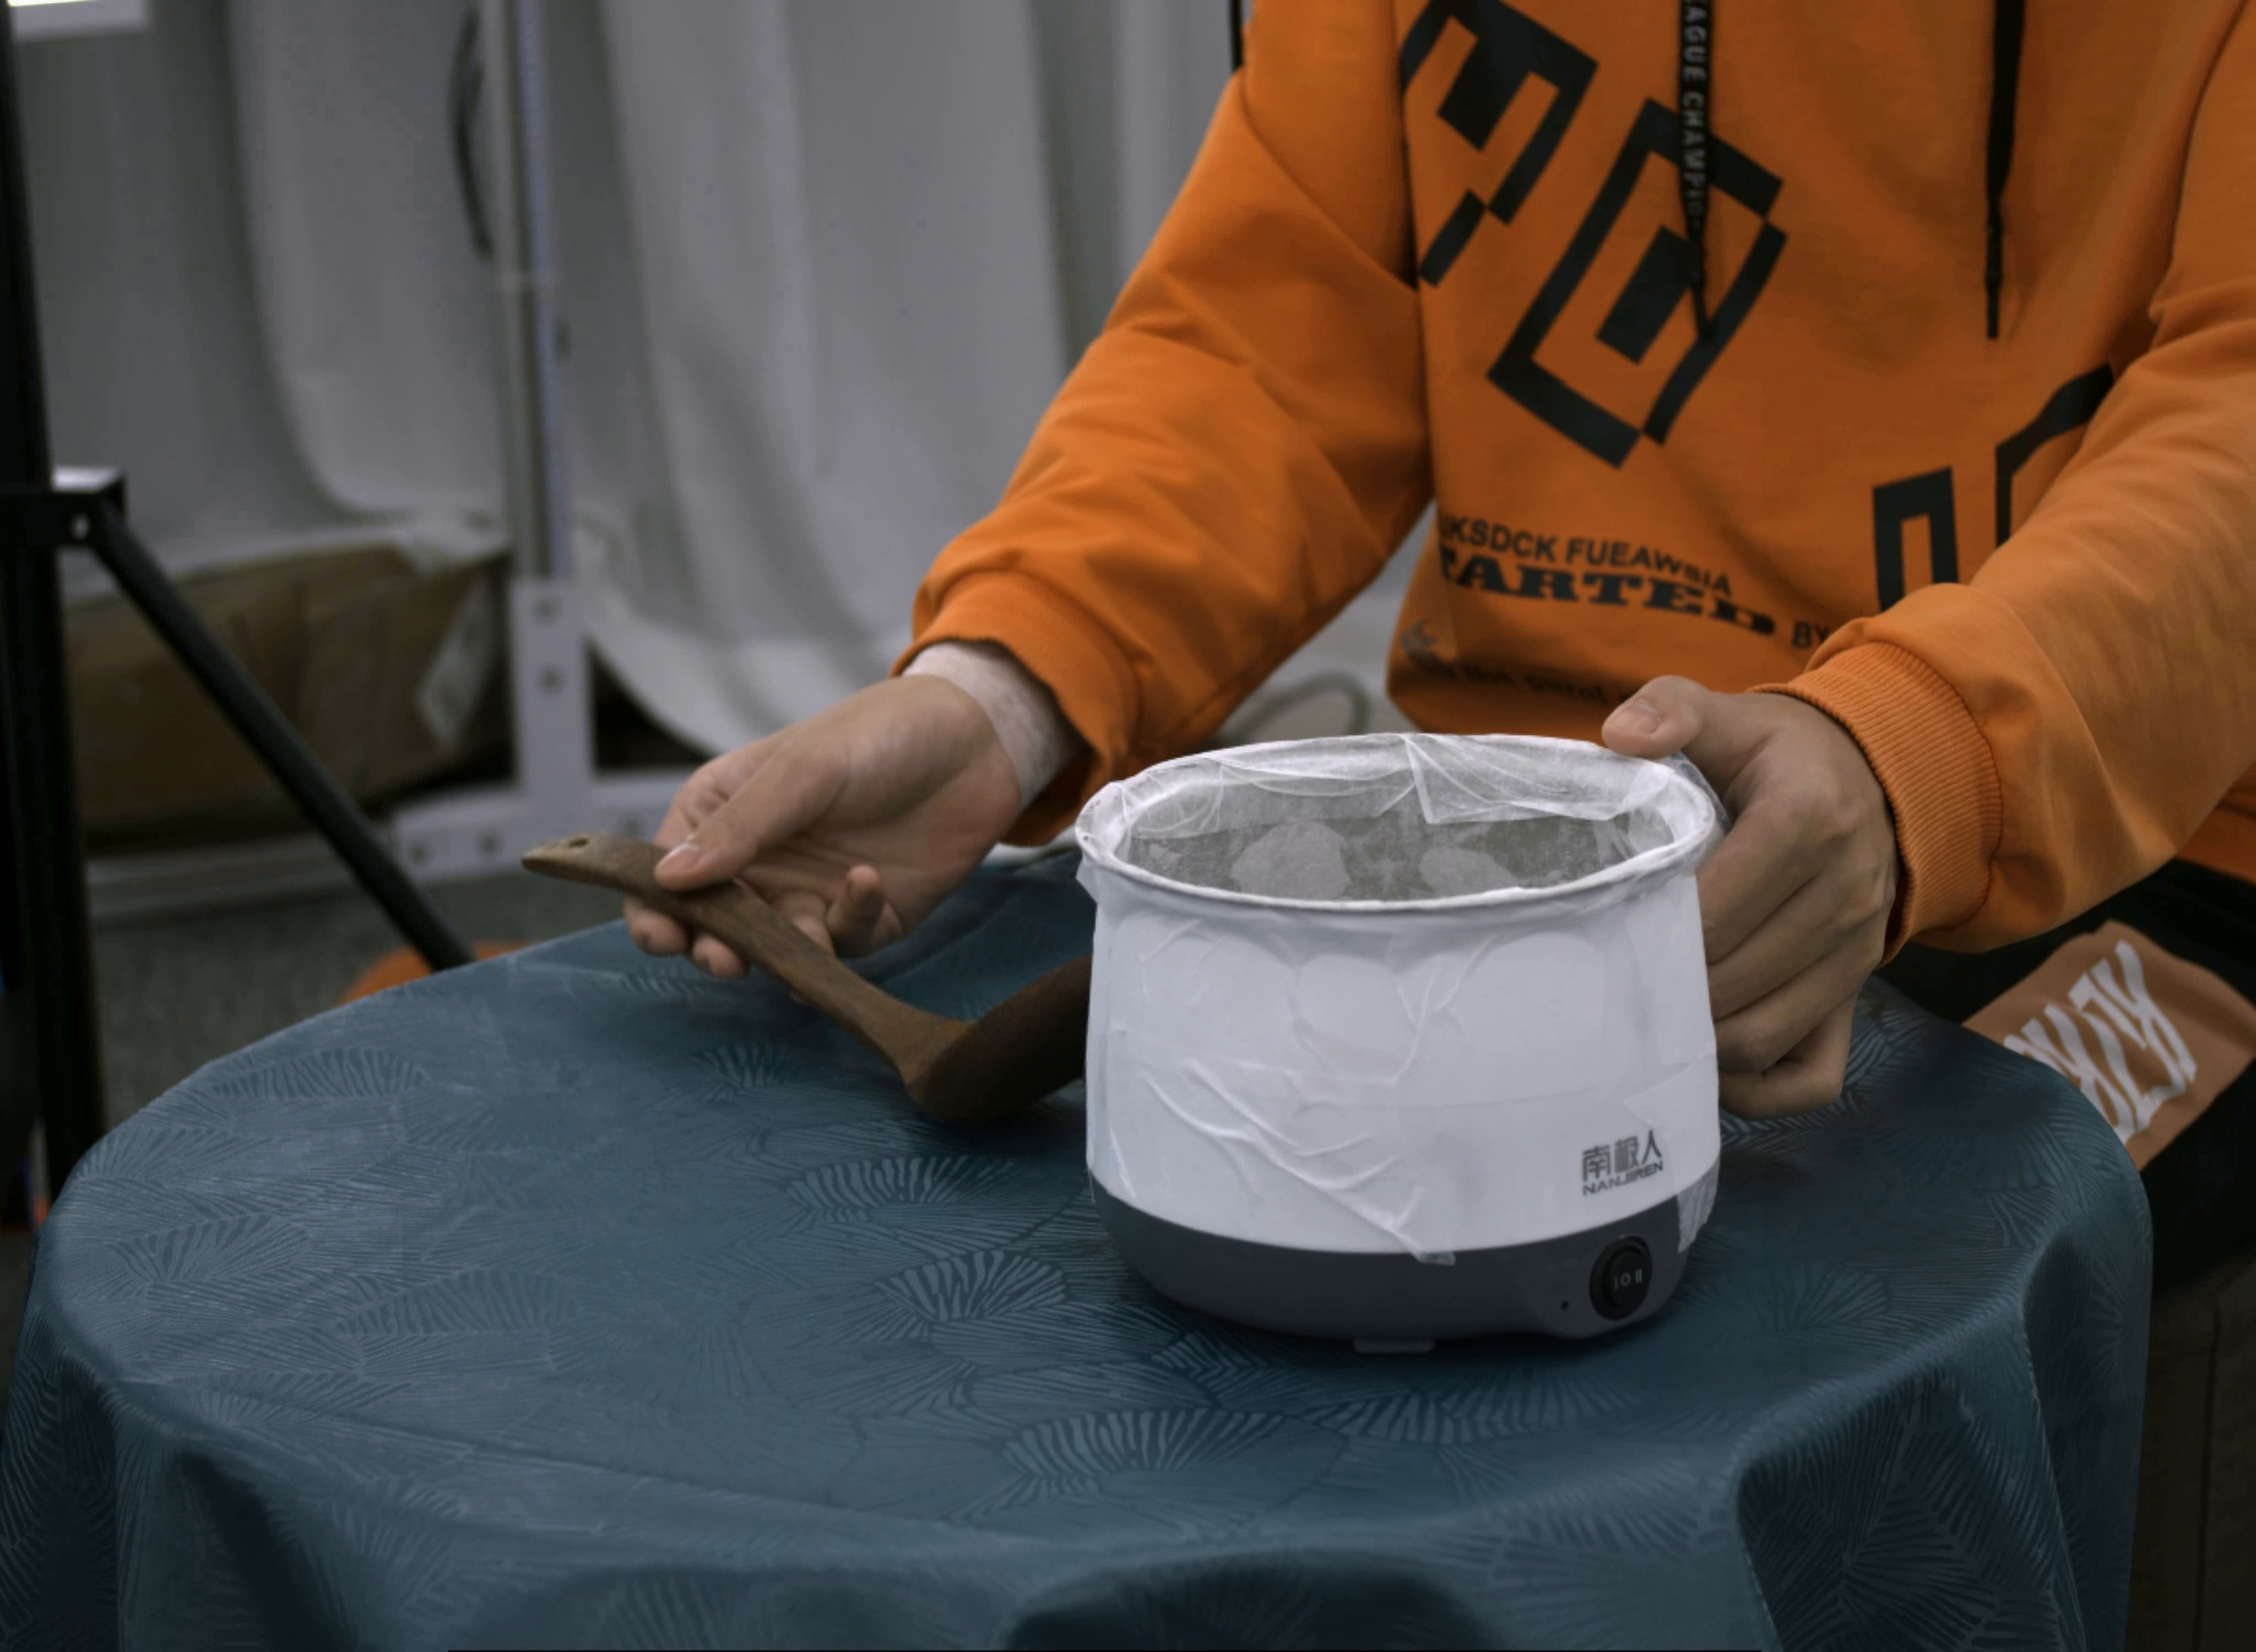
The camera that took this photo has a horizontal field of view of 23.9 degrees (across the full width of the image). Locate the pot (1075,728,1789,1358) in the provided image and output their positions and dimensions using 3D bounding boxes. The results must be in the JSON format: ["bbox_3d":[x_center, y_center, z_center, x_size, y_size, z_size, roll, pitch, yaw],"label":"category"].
[{"bbox_3d":[0.096,0.052,1.485,0.228,0.136,0.183,-15,20,-38],"label":"pot"}]

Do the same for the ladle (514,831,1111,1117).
[{"bbox_3d":[-0.106,0.025,1.685,0.074,0.071,0.280,-21,33,-36],"label":"ladle"}]
